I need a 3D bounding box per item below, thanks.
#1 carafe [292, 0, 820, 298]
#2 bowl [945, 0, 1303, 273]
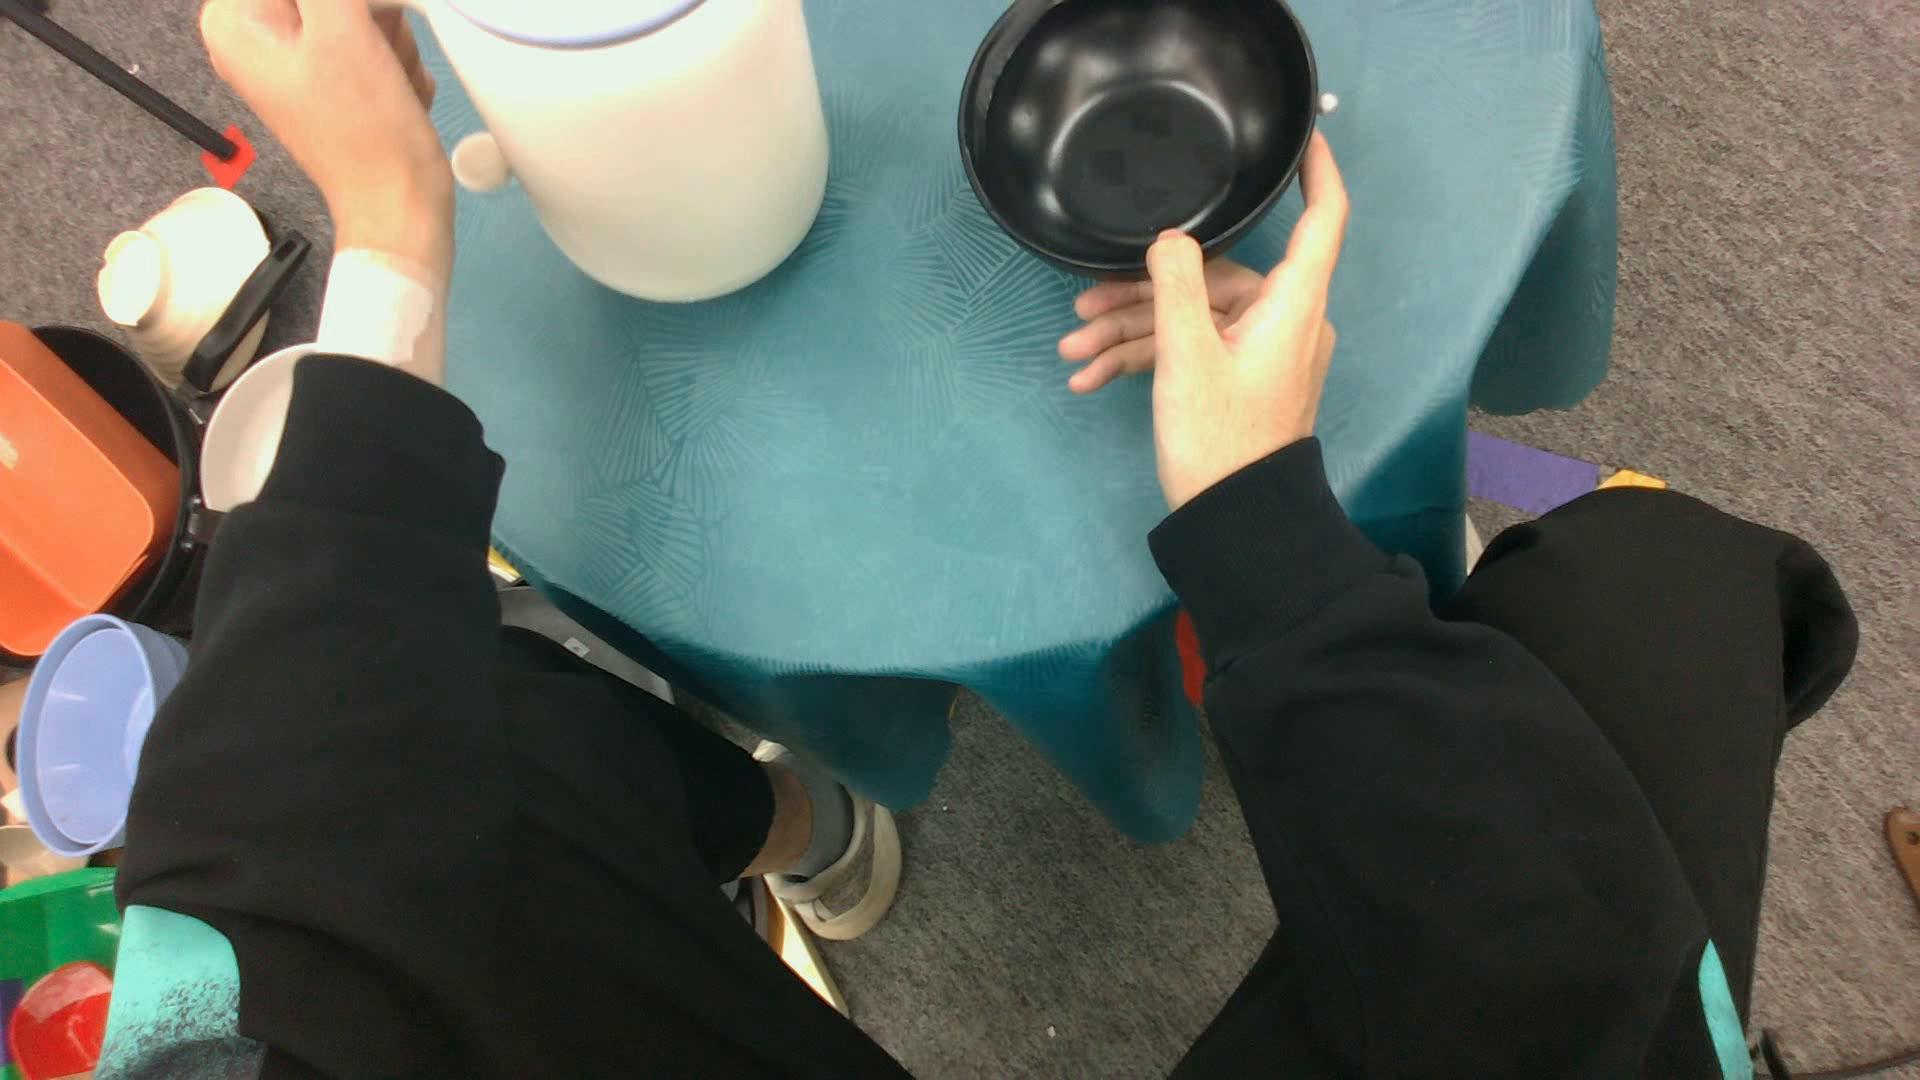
[{"bbox_3d":[-0.153,-0.187,0.543,0.191,0.182,0.132,-9,71,0],"label":"carafe"},{"bbox_3d":[0.067,-0.167,0.556,0.140,0.050,0.140,-3,77,12],"label":"bowl"}]
